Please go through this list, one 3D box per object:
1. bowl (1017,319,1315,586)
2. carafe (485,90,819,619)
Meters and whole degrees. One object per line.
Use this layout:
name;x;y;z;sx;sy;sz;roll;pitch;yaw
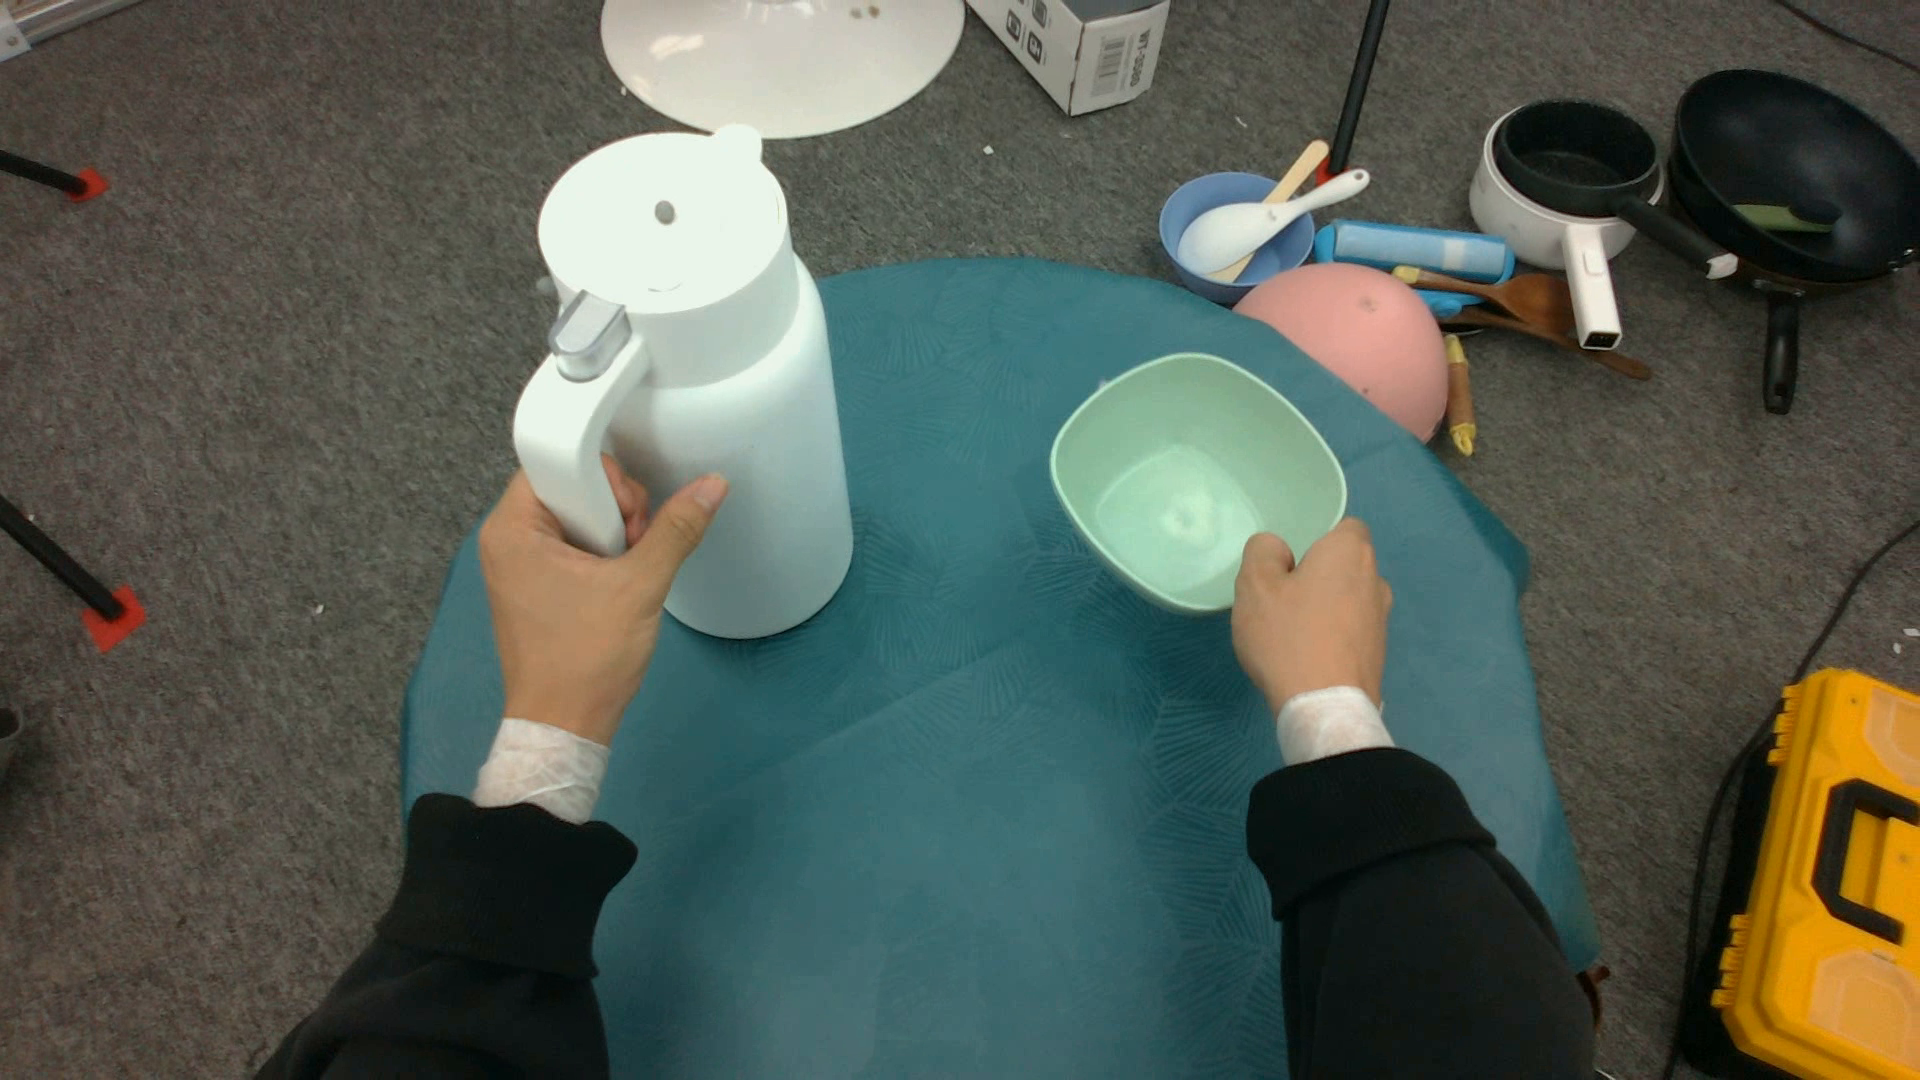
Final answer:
bowl;0.101;-0.037;0.711;0.151;0.058;0.152;2;63;-5
carafe;-0.140;-0.057;0.653;0.124;0.267;0.173;20;61;8
